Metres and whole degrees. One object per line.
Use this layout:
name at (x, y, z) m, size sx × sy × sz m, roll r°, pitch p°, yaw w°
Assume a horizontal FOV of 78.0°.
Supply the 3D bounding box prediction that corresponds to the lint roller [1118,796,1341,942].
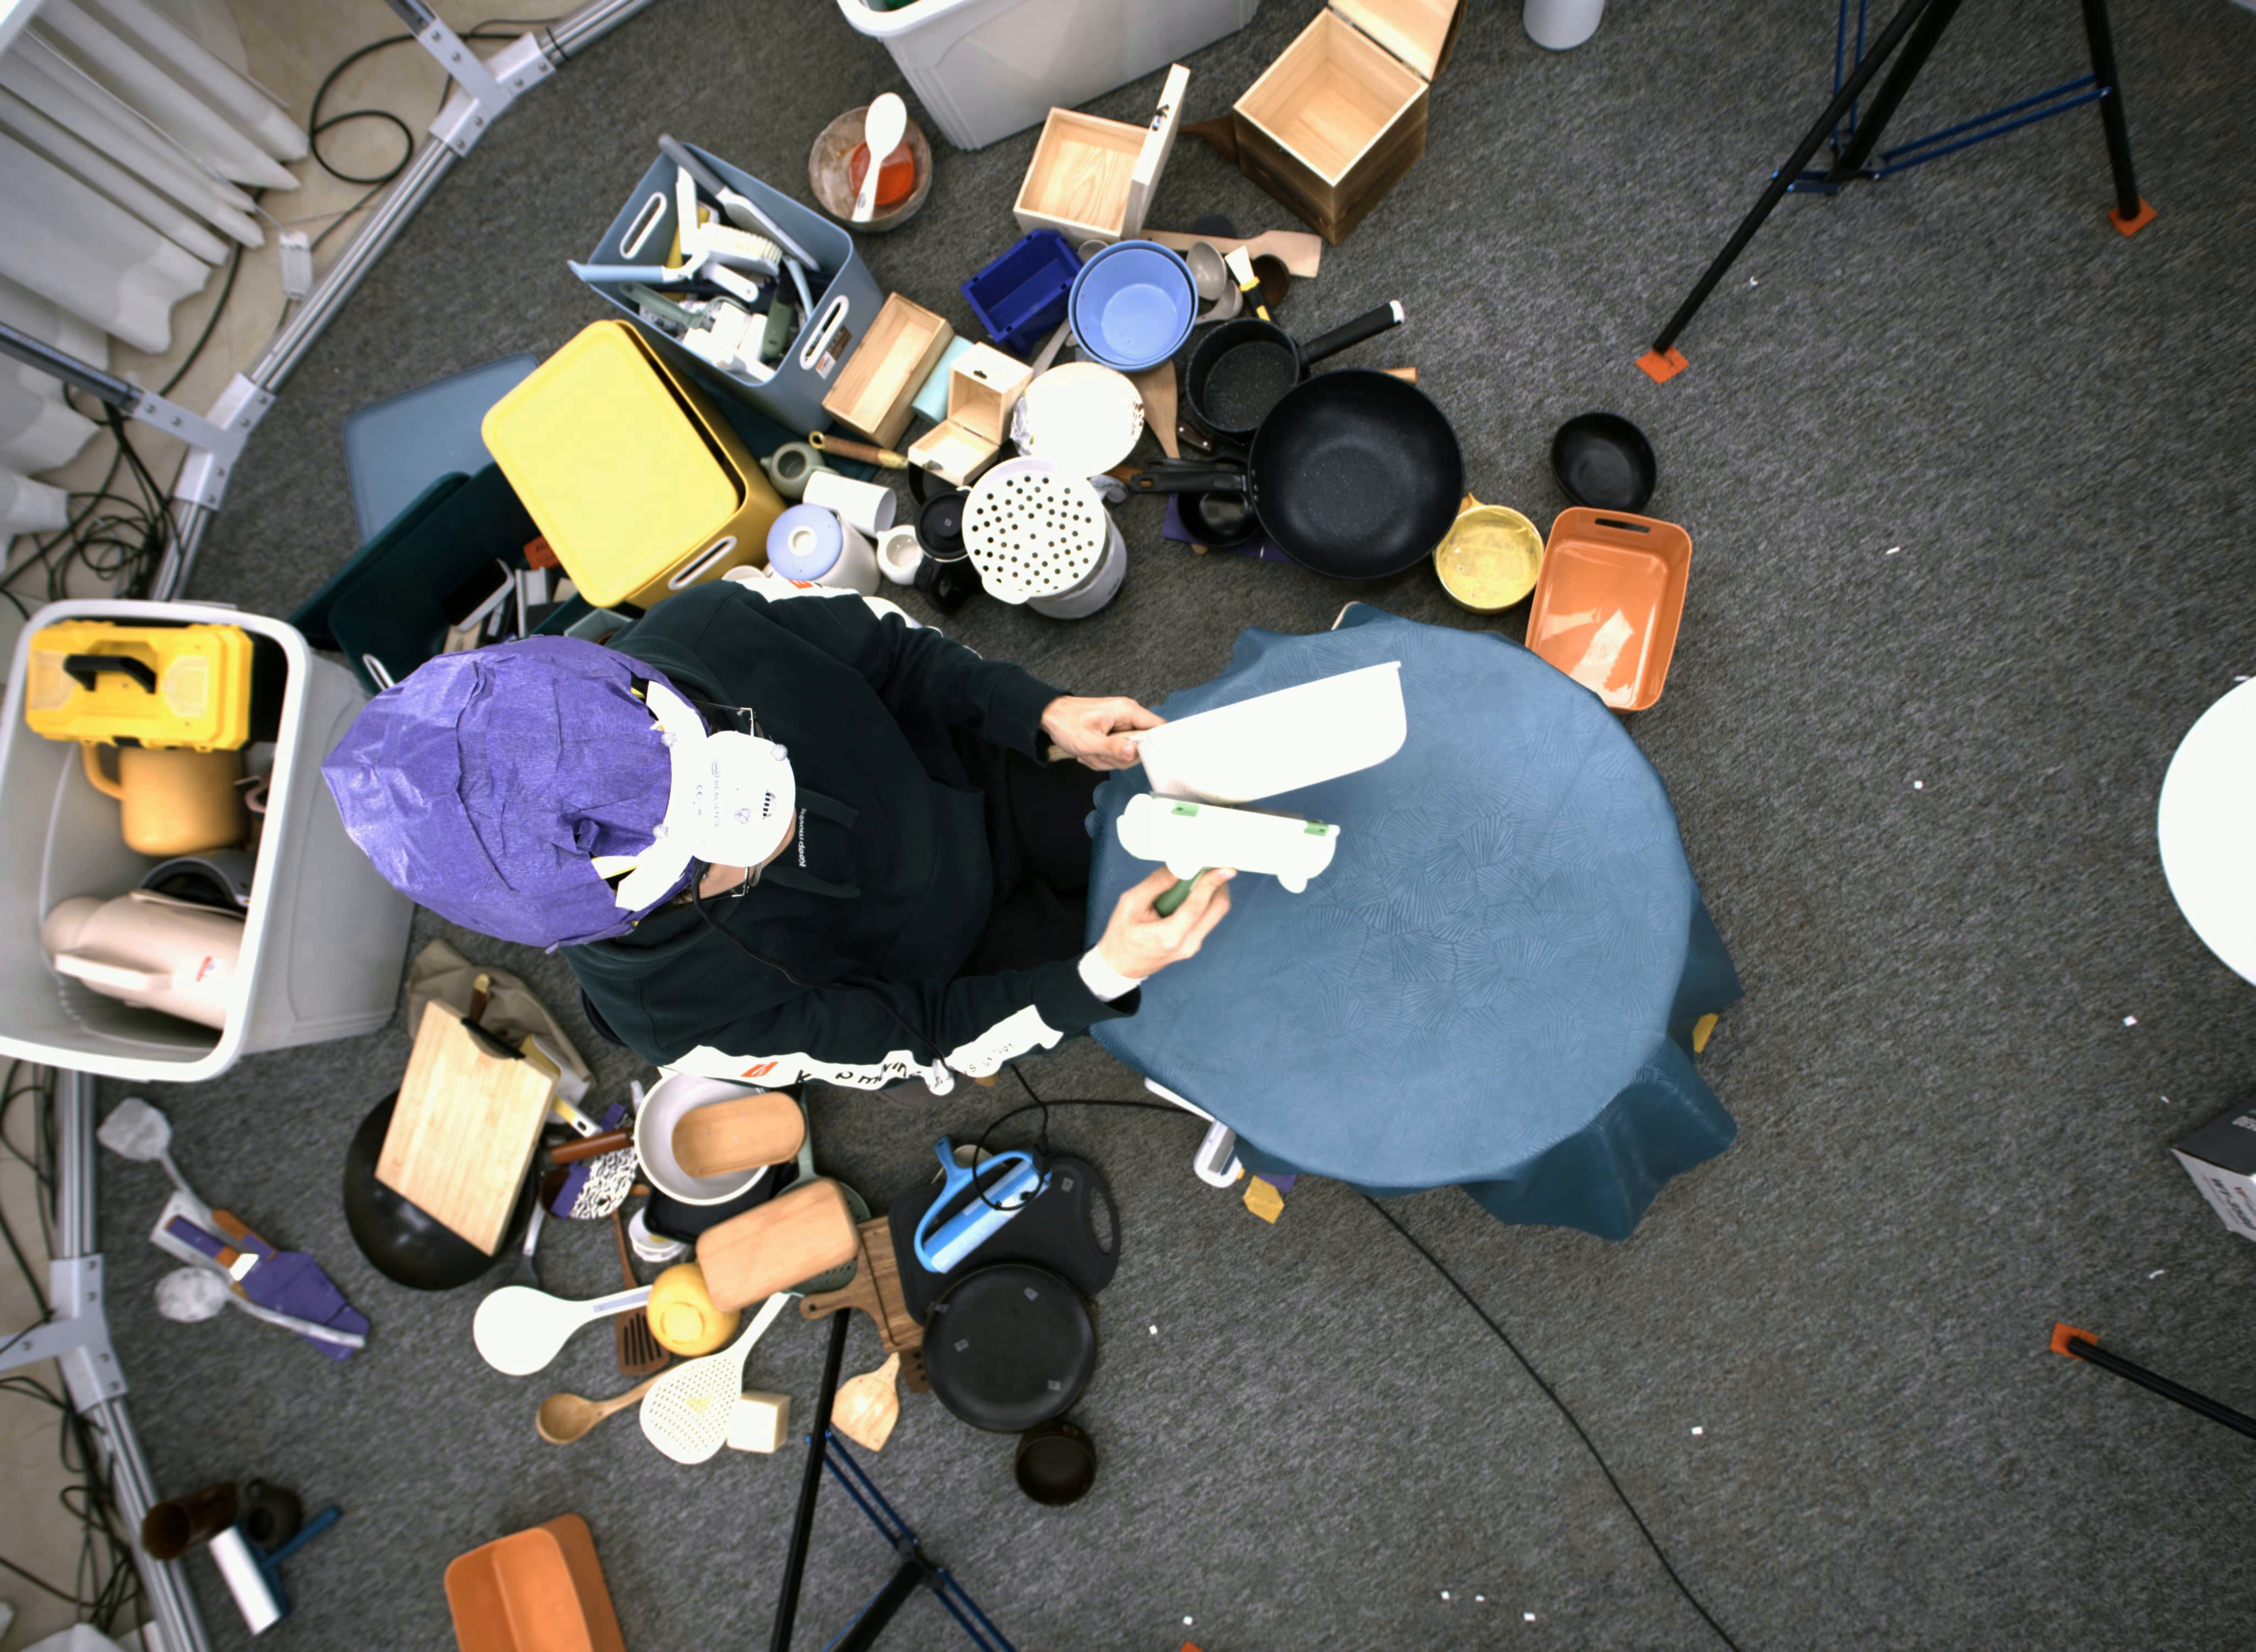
lint roller at (0.067, 0.056, 1.200) m, size 0.188 × 0.198 × 0.080 m, roll -60°, pitch 38°, yaw 33°

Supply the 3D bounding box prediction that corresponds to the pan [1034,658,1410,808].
pan at (0.071, -0.068, 1.308) m, size 0.440 × 0.259 × 0.102 m, roll -12°, pitch 97°, yaw 47°
